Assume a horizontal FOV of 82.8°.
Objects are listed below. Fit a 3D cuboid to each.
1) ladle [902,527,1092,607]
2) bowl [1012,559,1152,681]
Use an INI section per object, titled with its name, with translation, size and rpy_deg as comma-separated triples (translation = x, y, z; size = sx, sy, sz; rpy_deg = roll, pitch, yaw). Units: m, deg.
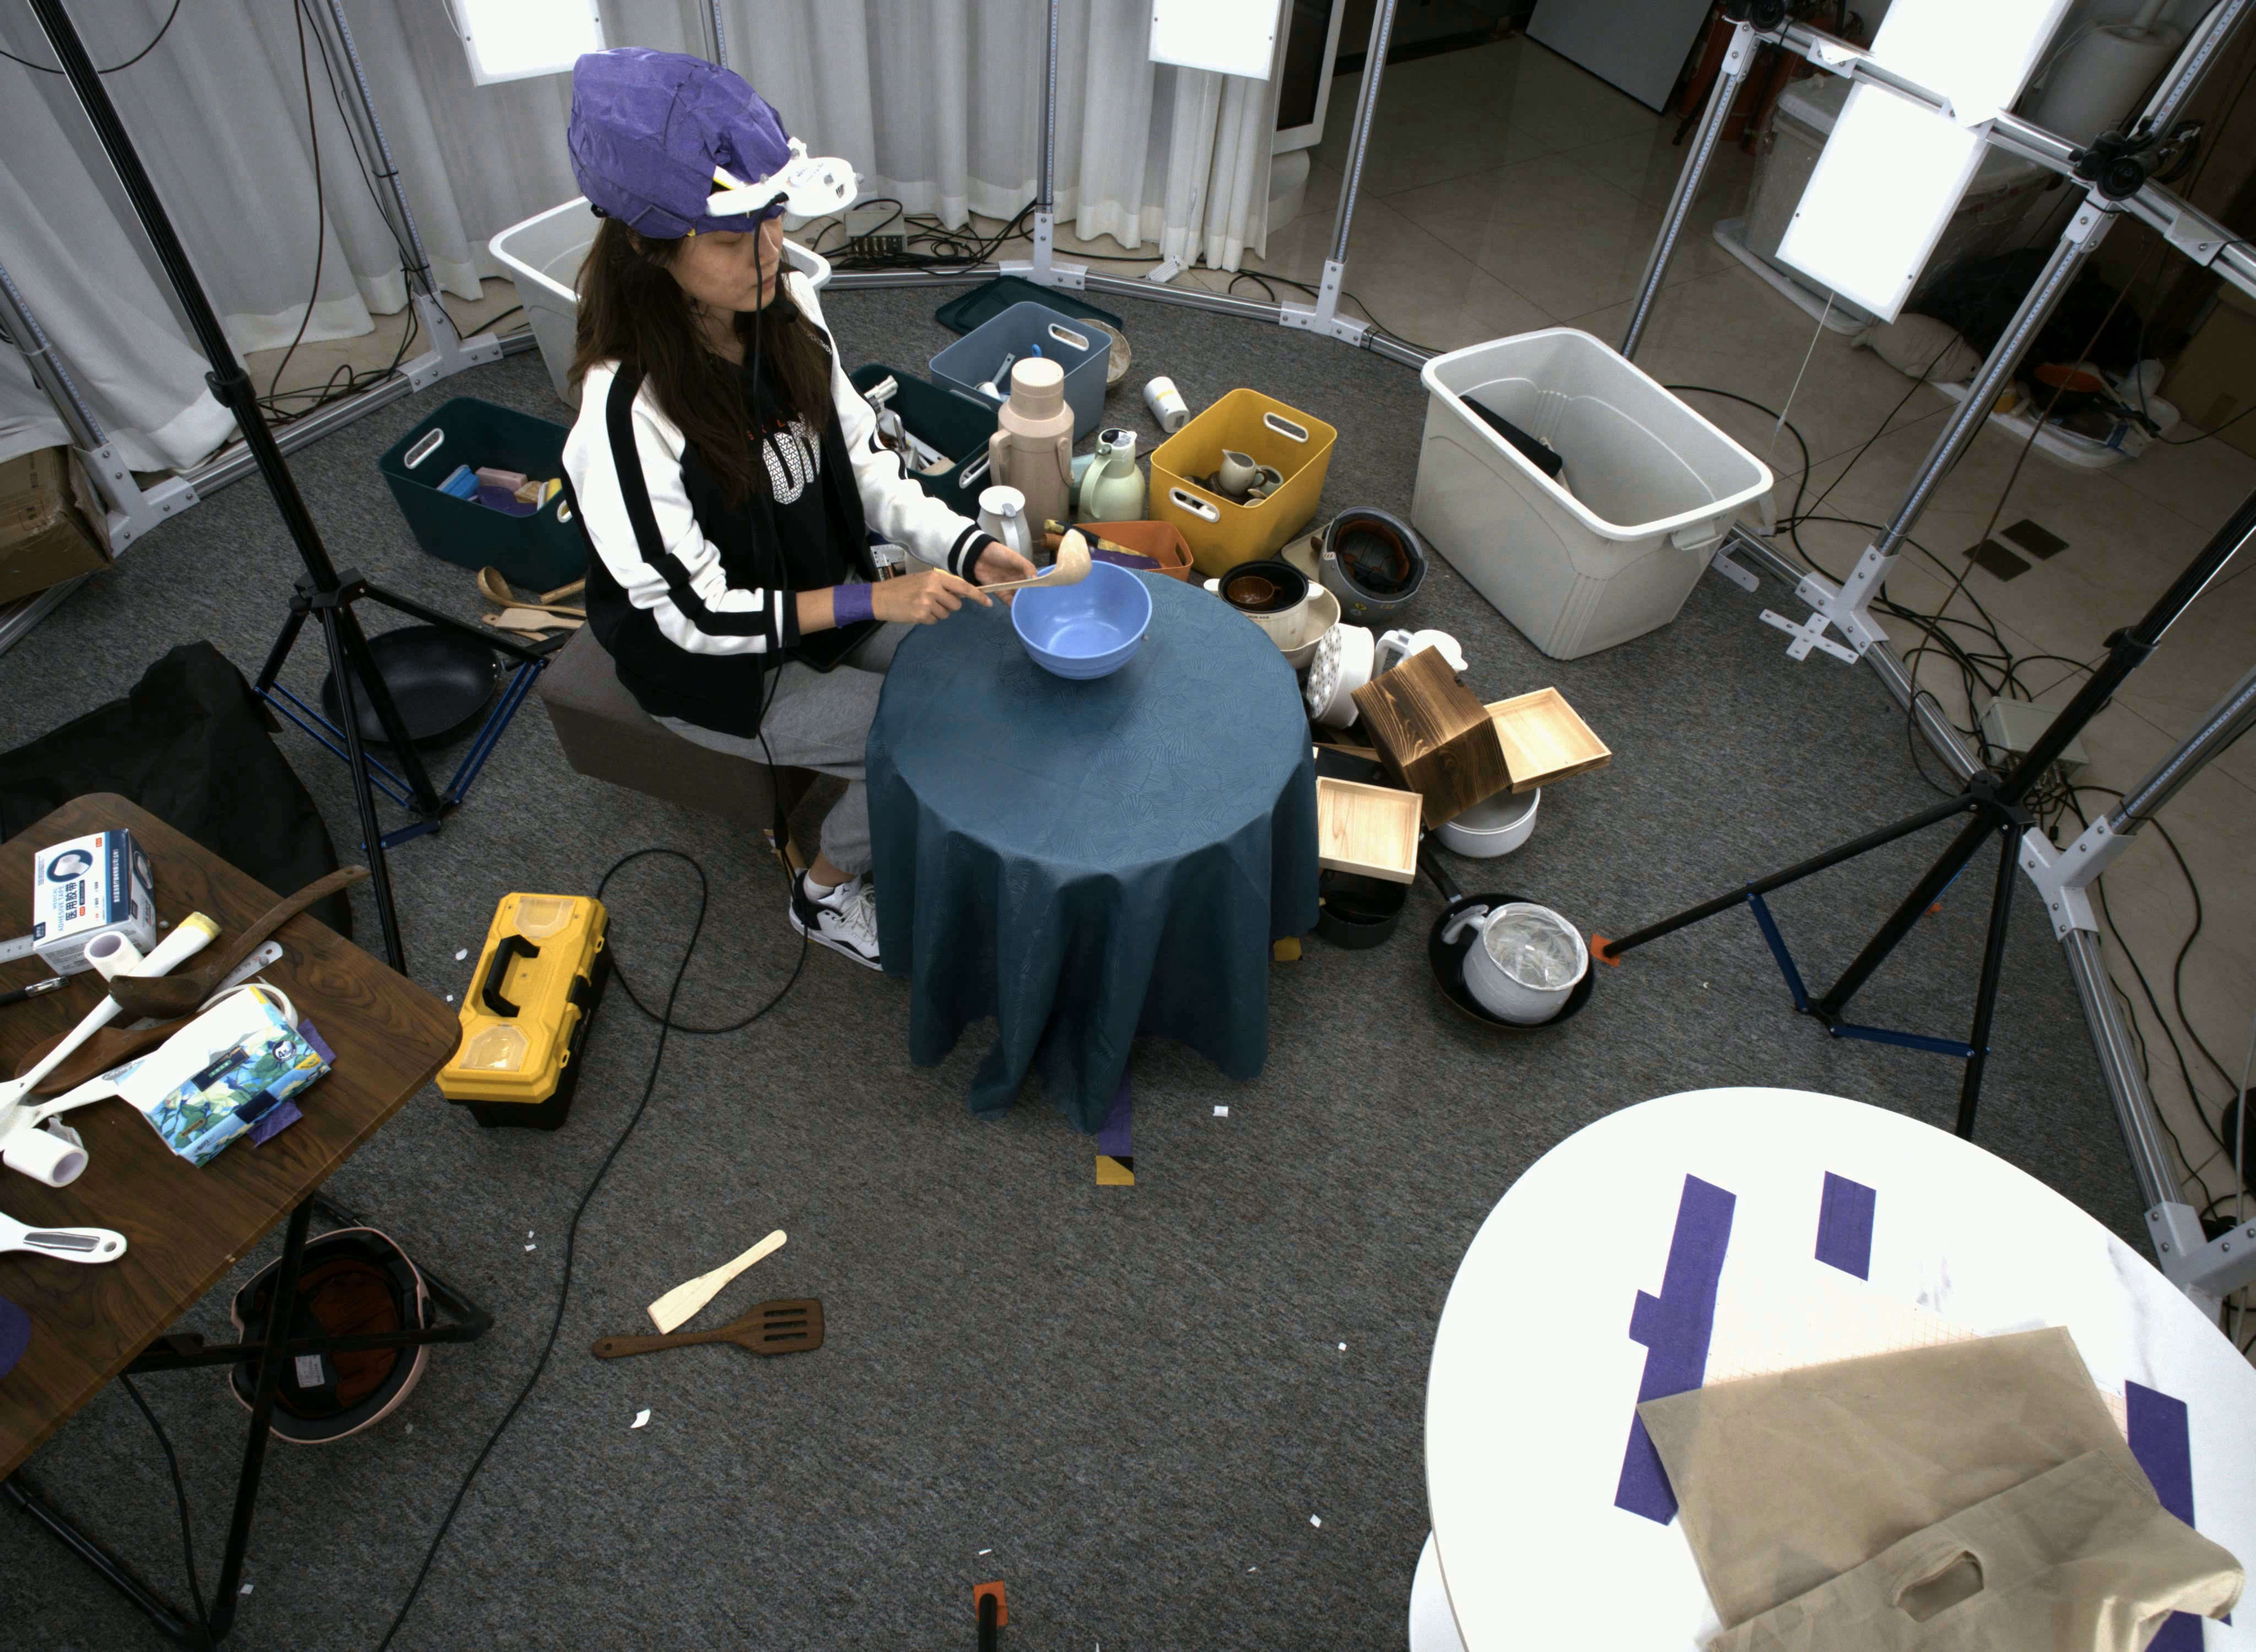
[ladle]
translation = -0.175, -0.341, 1.708
size = 0.254, 0.070, 0.074
rpy_deg = -8, 62, 5
[bowl]
translation = -0.063, -0.277, 1.831
size = 0.196, 0.093, 0.201
rpy_deg = -1, 53, 2
